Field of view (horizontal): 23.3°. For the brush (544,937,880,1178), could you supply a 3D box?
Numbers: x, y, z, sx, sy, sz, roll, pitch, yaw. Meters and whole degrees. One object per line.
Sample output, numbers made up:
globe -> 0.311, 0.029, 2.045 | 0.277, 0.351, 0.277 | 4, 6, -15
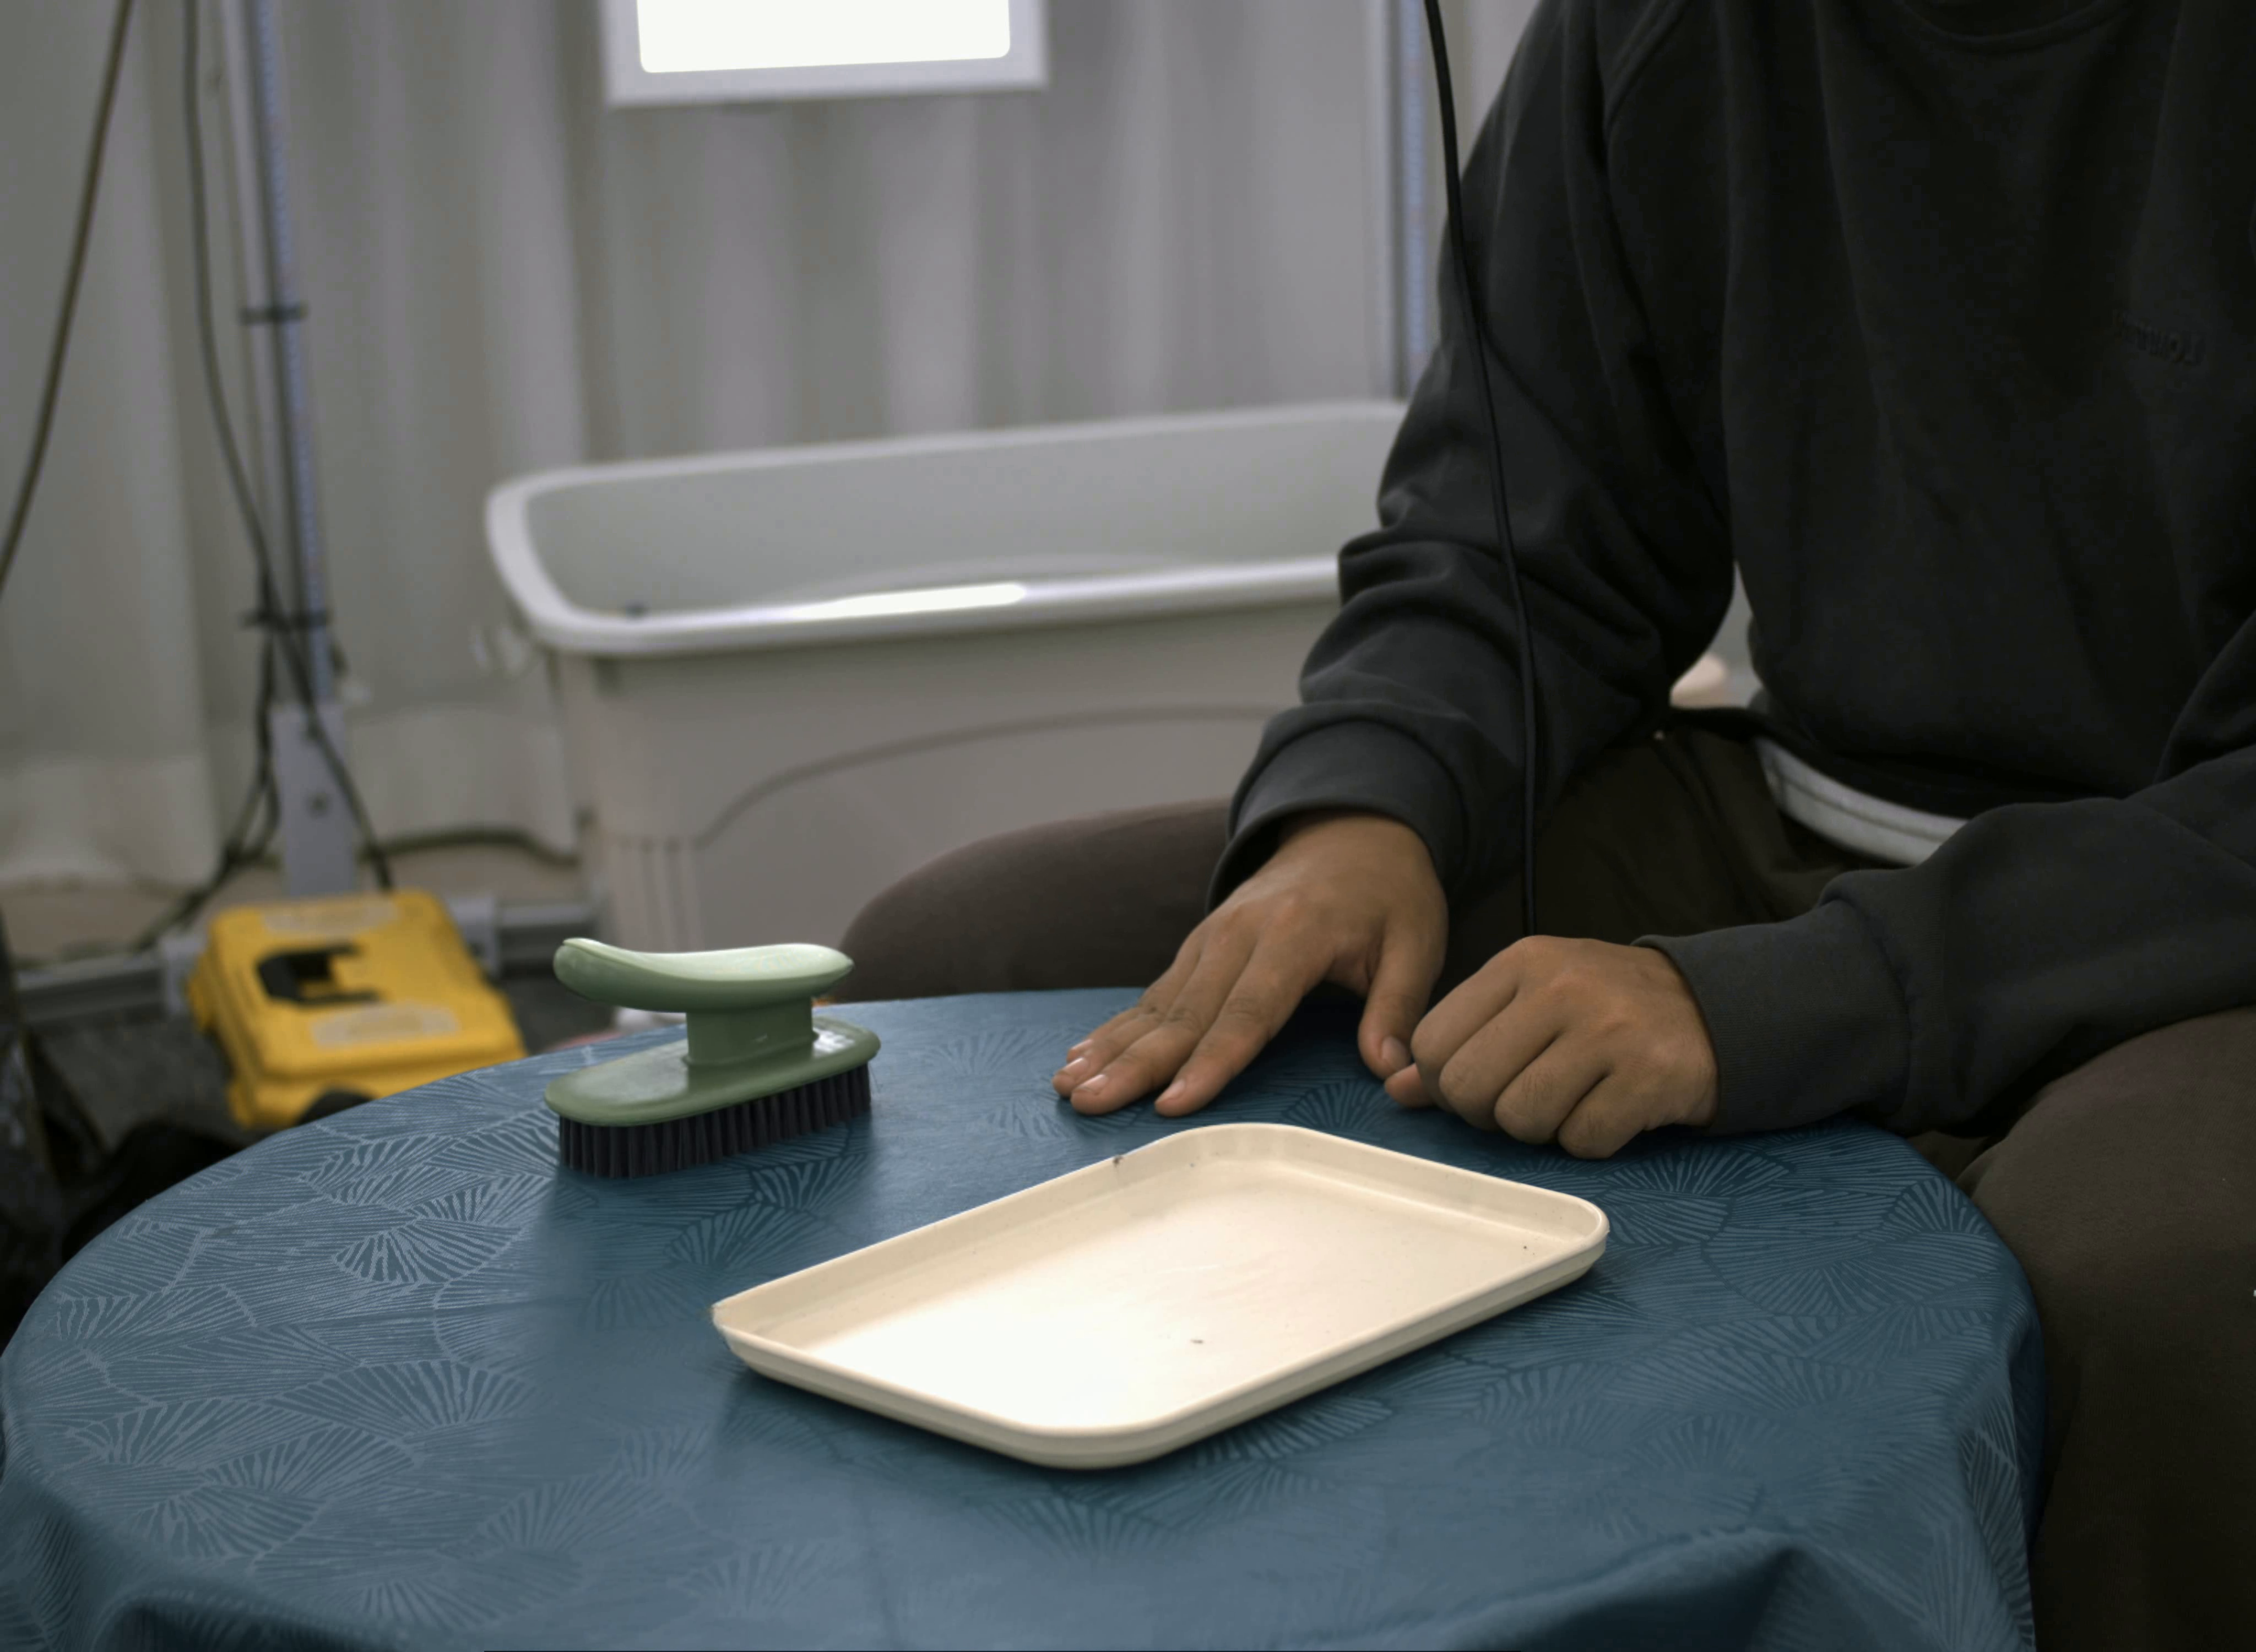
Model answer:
brush -> -0.137, 0.075, 1.787 | 0.122, 0.076, 0.060 | 3, 8, -42

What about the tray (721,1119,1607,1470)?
tray -> 0.013, 0.136, 1.601 | 0.172, 0.017, 0.239 | 12, 21, 43
